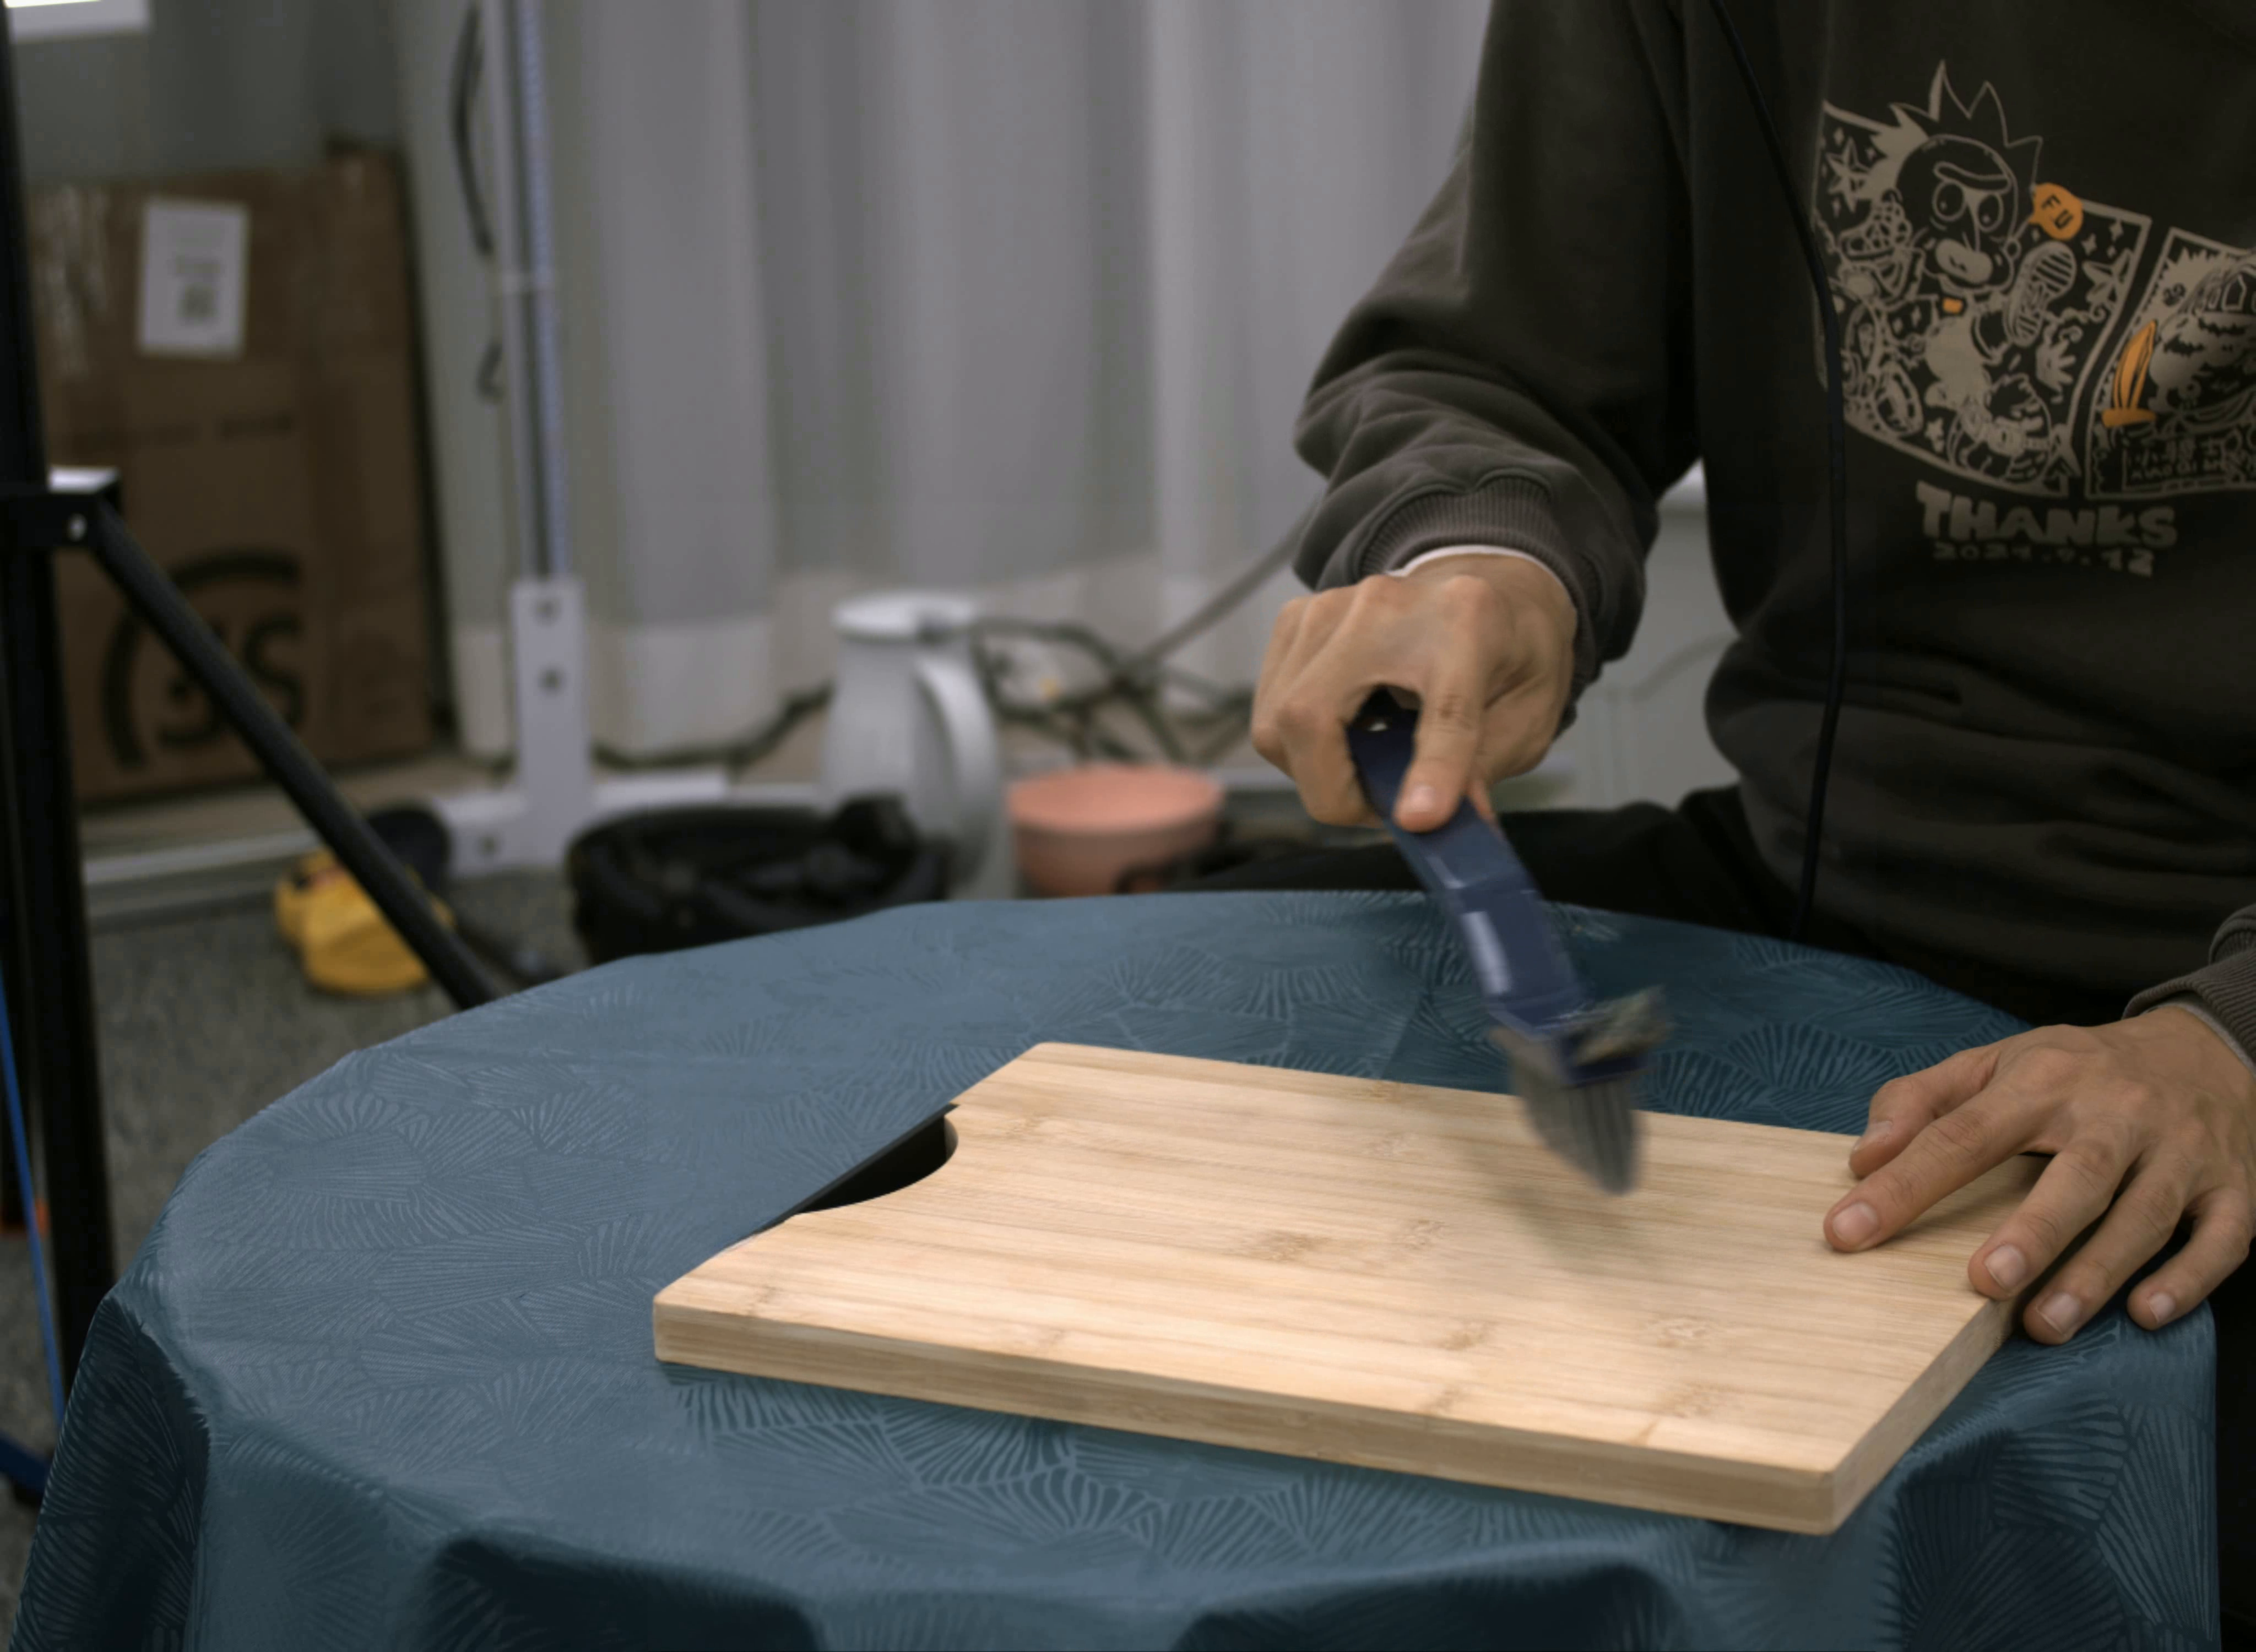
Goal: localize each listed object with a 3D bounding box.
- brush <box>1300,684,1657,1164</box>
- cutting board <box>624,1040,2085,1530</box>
[{"bbox_3d":[0.102,0.008,1.526,0.033,0.095,0.278,-15,34,-9],"label":"brush"},{"bbox_3d":[0.067,0.121,1.475,0.354,0.023,0.247,5,17,26],"label":"cutting board"}]
